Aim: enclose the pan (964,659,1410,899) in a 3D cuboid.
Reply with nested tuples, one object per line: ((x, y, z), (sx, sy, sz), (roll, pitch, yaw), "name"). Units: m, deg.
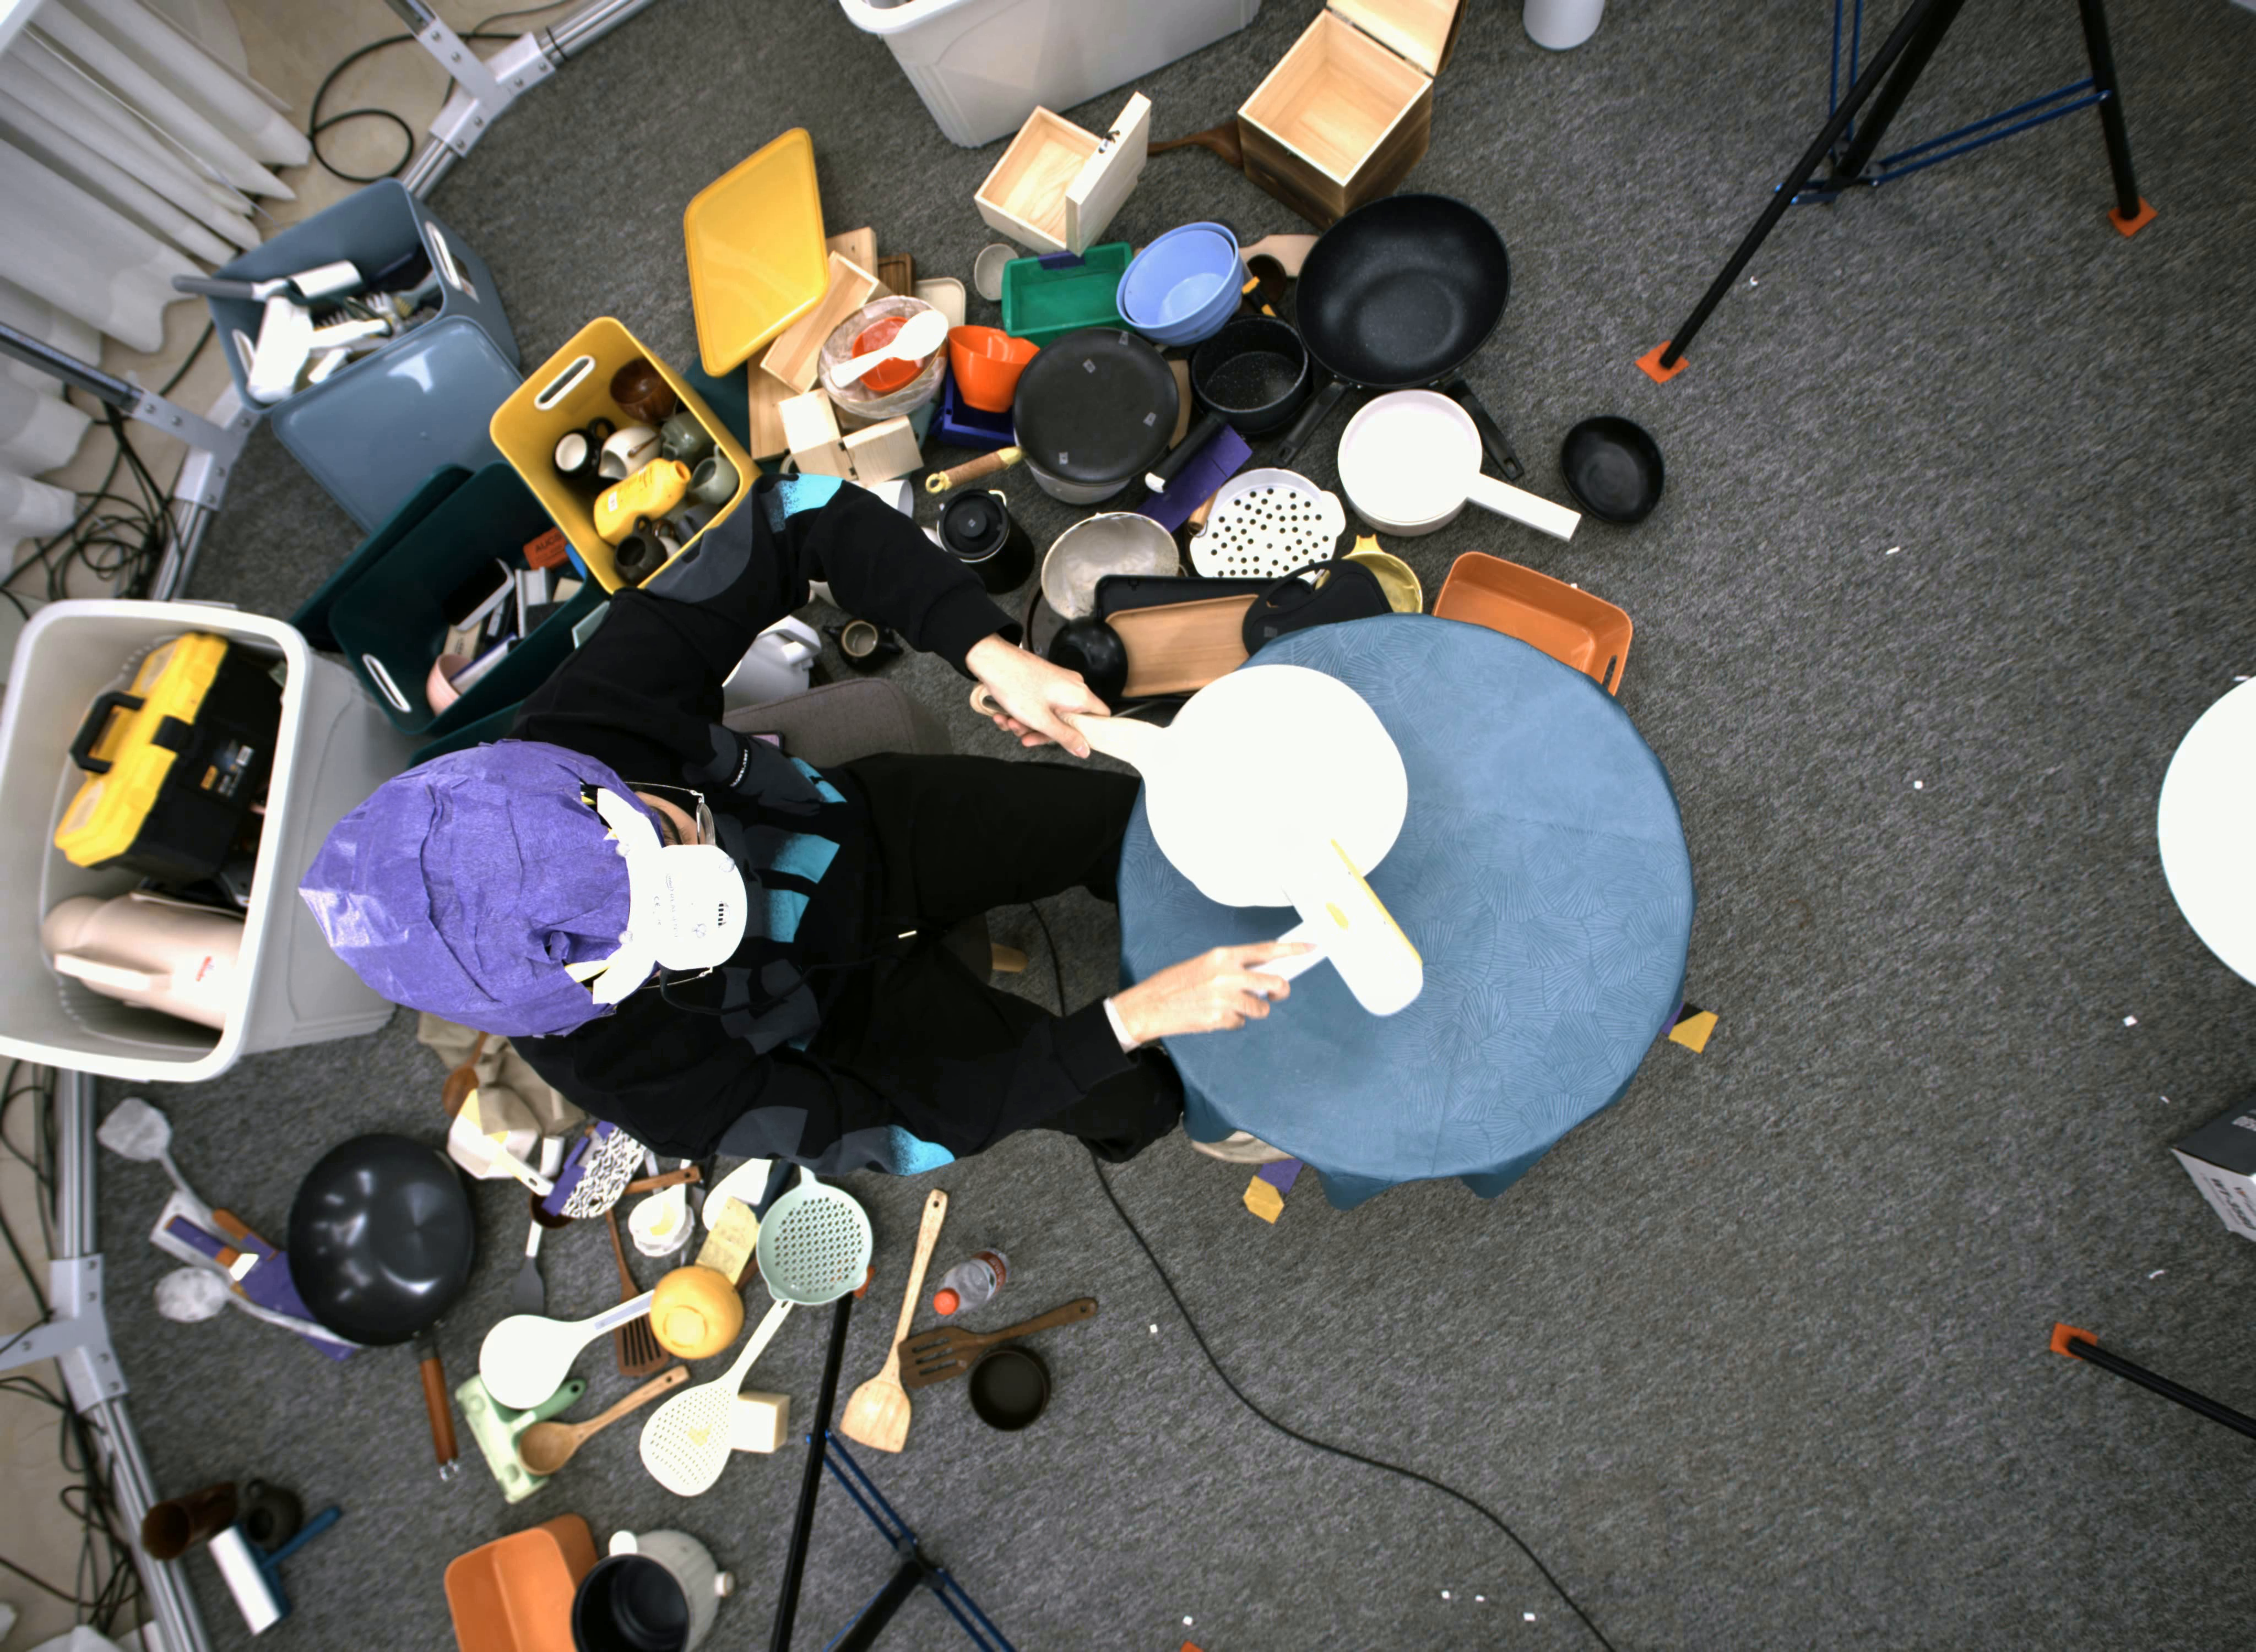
((0.059, -0.078, 1.334), (0.435, 0.099, 0.270), (19, 126, -9), "pan")

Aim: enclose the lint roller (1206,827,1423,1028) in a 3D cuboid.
((0.156, 0.121, 1.304), (0.193, 0.074, 0.191), (-37, 80, 2), "lint roller")
